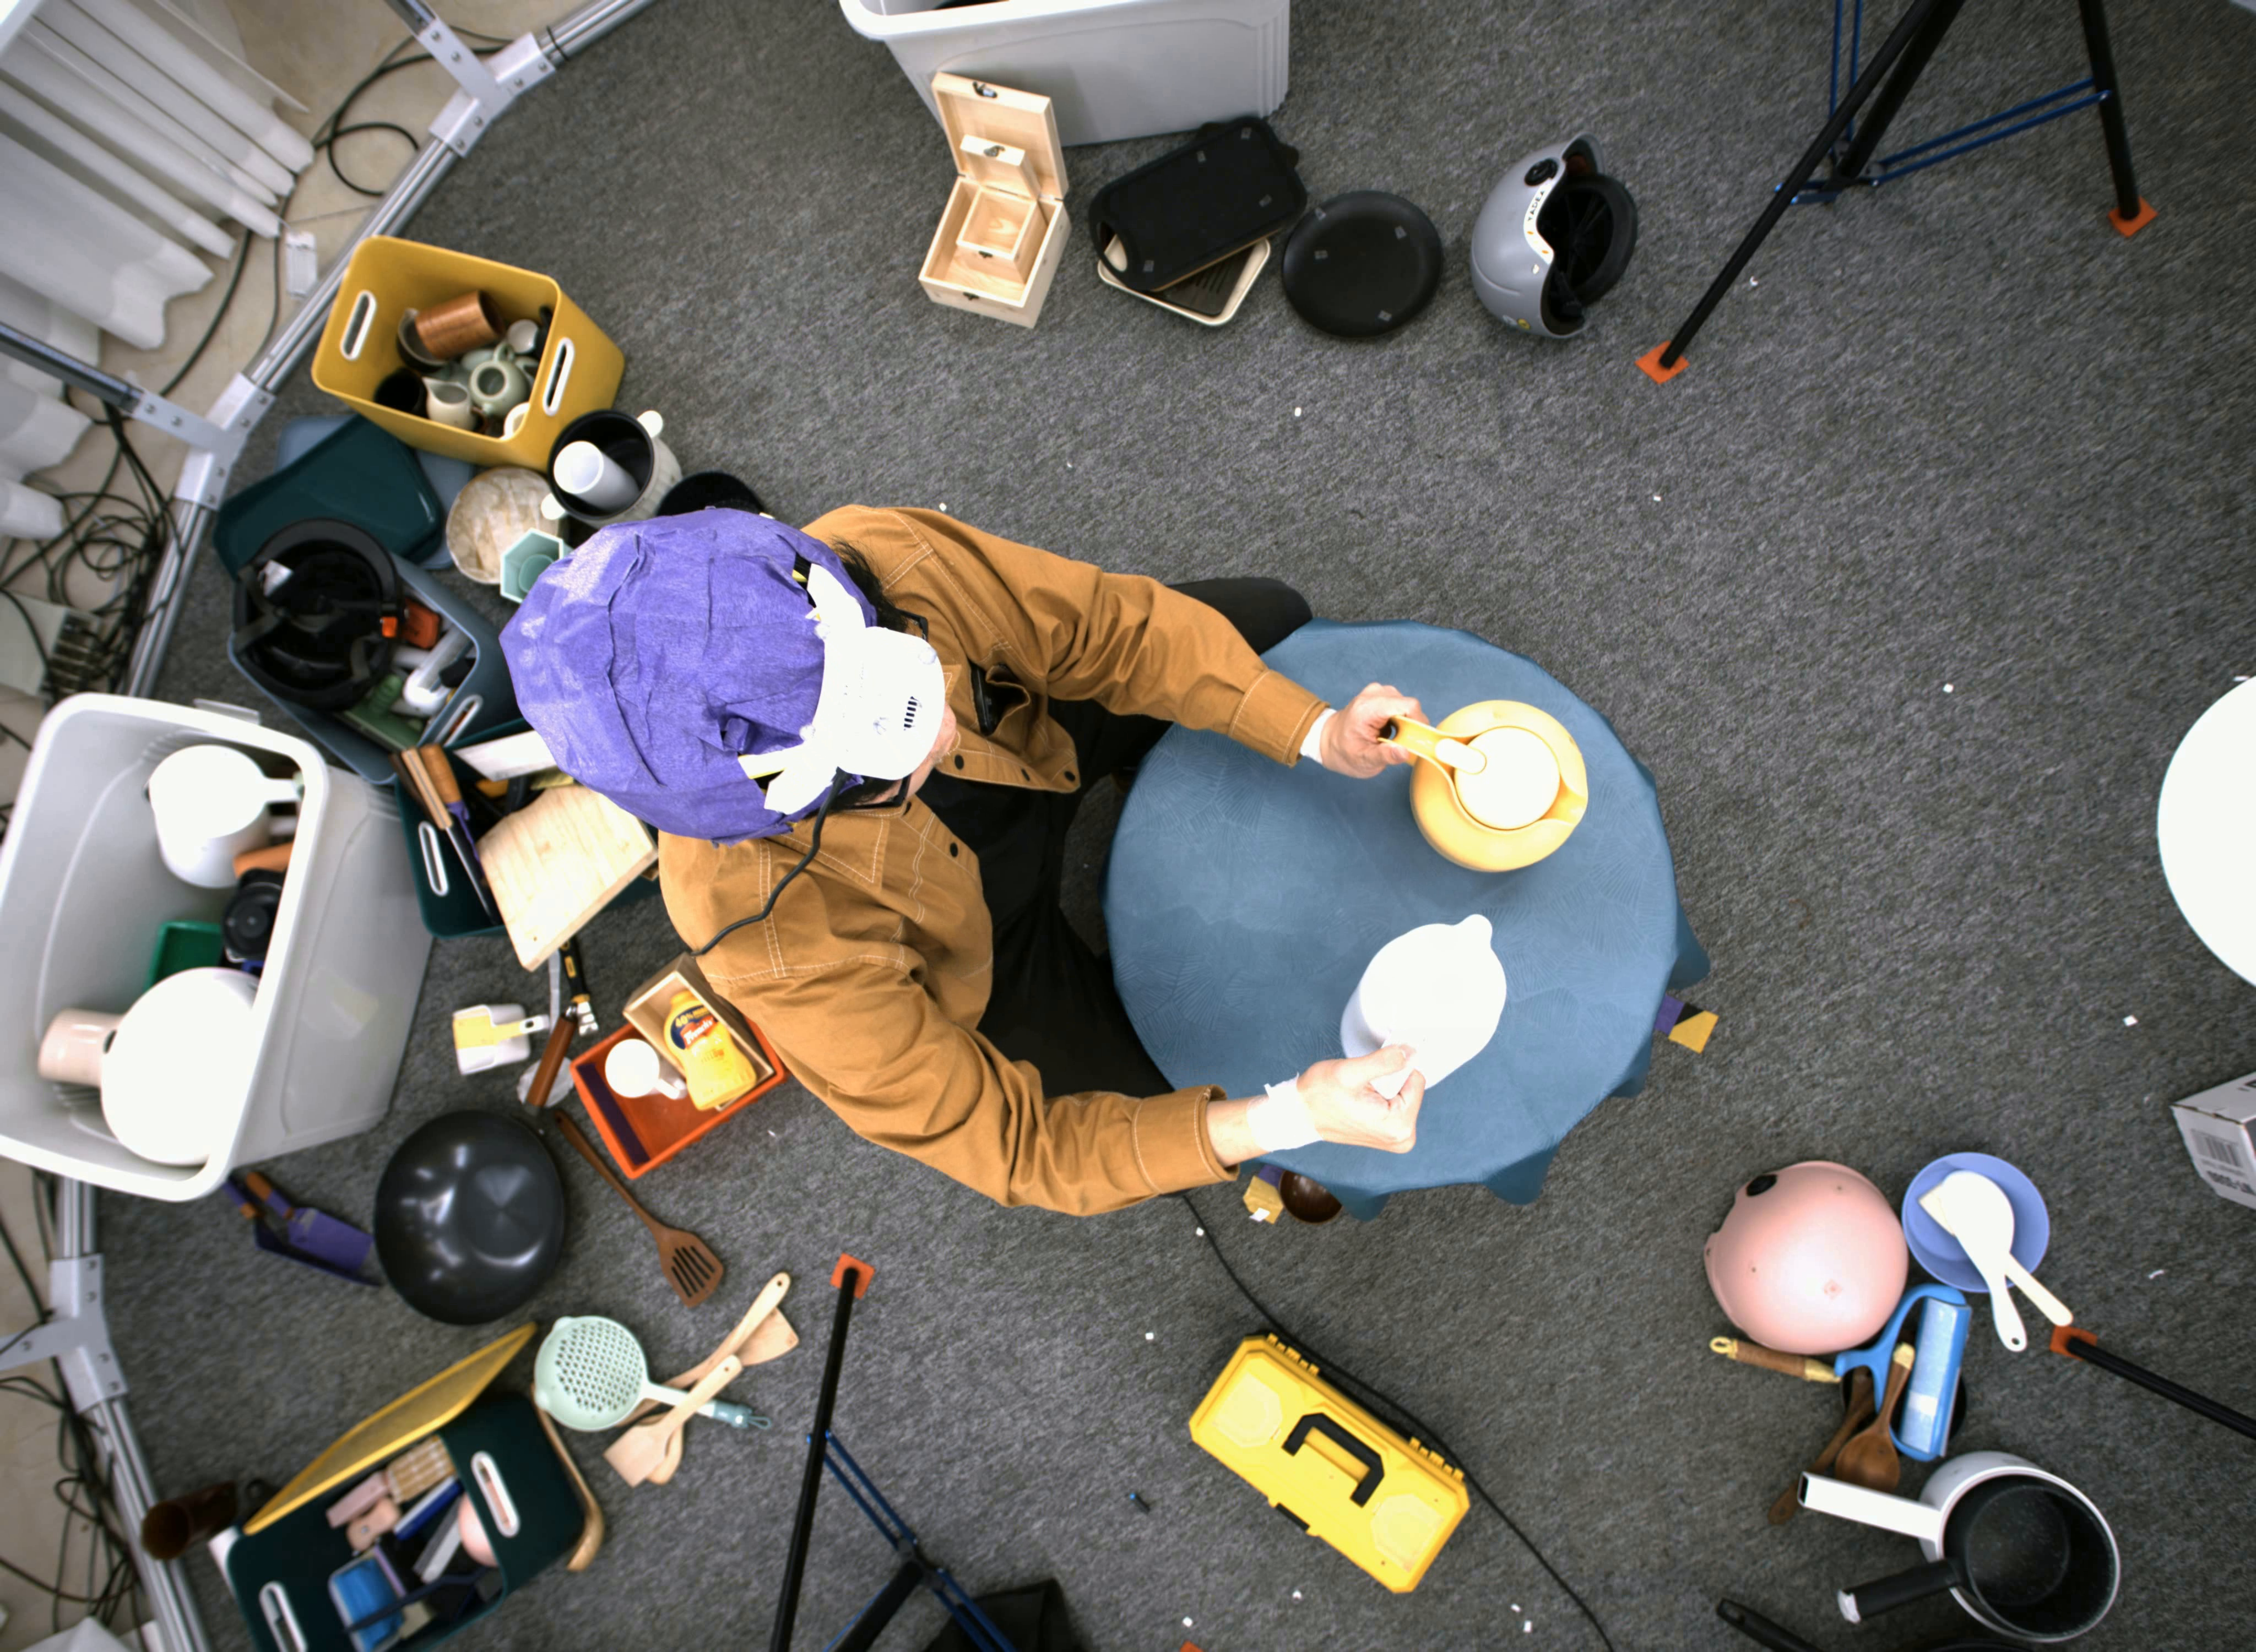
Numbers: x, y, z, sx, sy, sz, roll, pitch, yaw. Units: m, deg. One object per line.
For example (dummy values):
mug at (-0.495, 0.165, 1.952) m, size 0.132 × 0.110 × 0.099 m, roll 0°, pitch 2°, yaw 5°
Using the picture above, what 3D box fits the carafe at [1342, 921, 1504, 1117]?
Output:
carafe at (0.252, 0.179, 1.229) m, size 0.123 × 0.271 × 0.171 m, roll 33°, pitch 80°, yaw 9°

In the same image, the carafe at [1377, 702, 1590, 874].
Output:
carafe at (0.333, -0.048, 1.305) m, size 0.202 × 0.260 × 0.164 m, roll 29°, pitch 92°, yaw 8°
